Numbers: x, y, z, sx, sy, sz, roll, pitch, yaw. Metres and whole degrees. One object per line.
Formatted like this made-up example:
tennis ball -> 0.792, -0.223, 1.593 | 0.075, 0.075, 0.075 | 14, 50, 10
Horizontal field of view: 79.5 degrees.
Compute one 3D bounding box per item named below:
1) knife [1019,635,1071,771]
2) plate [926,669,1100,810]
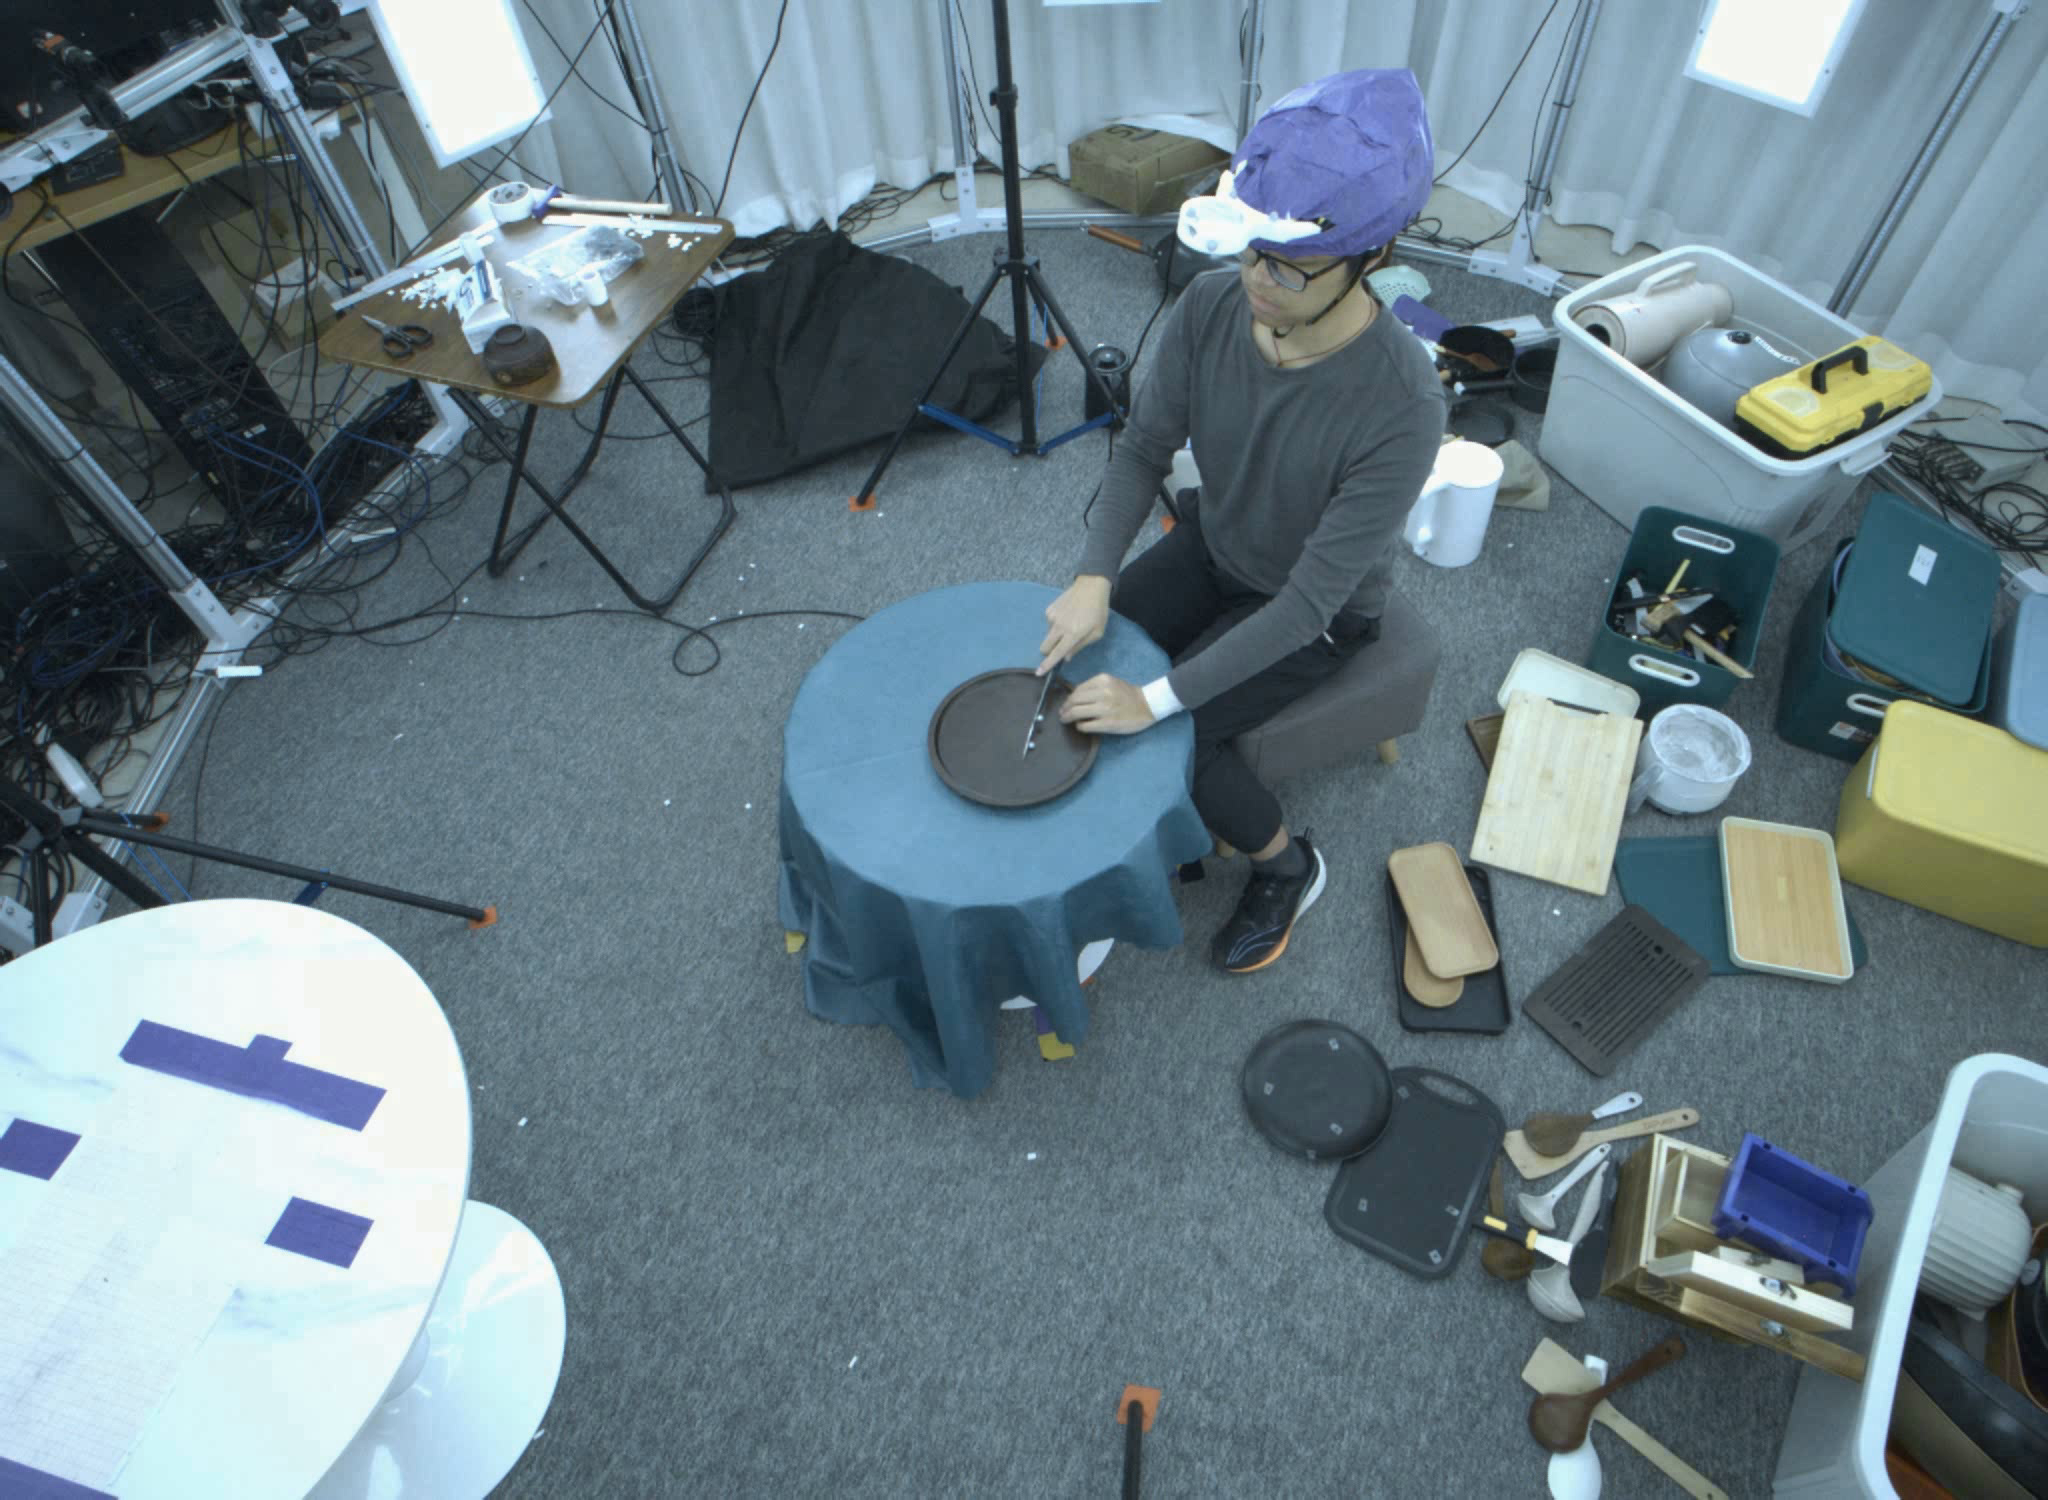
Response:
knife -> 0.030, -0.073, 1.802 | 0.016, 0.024, 0.237 | 16, 65, 7
plate -> -0.016, -0.017, 1.794 | 0.254, 0.029, 0.252 | 0, 55, 2
